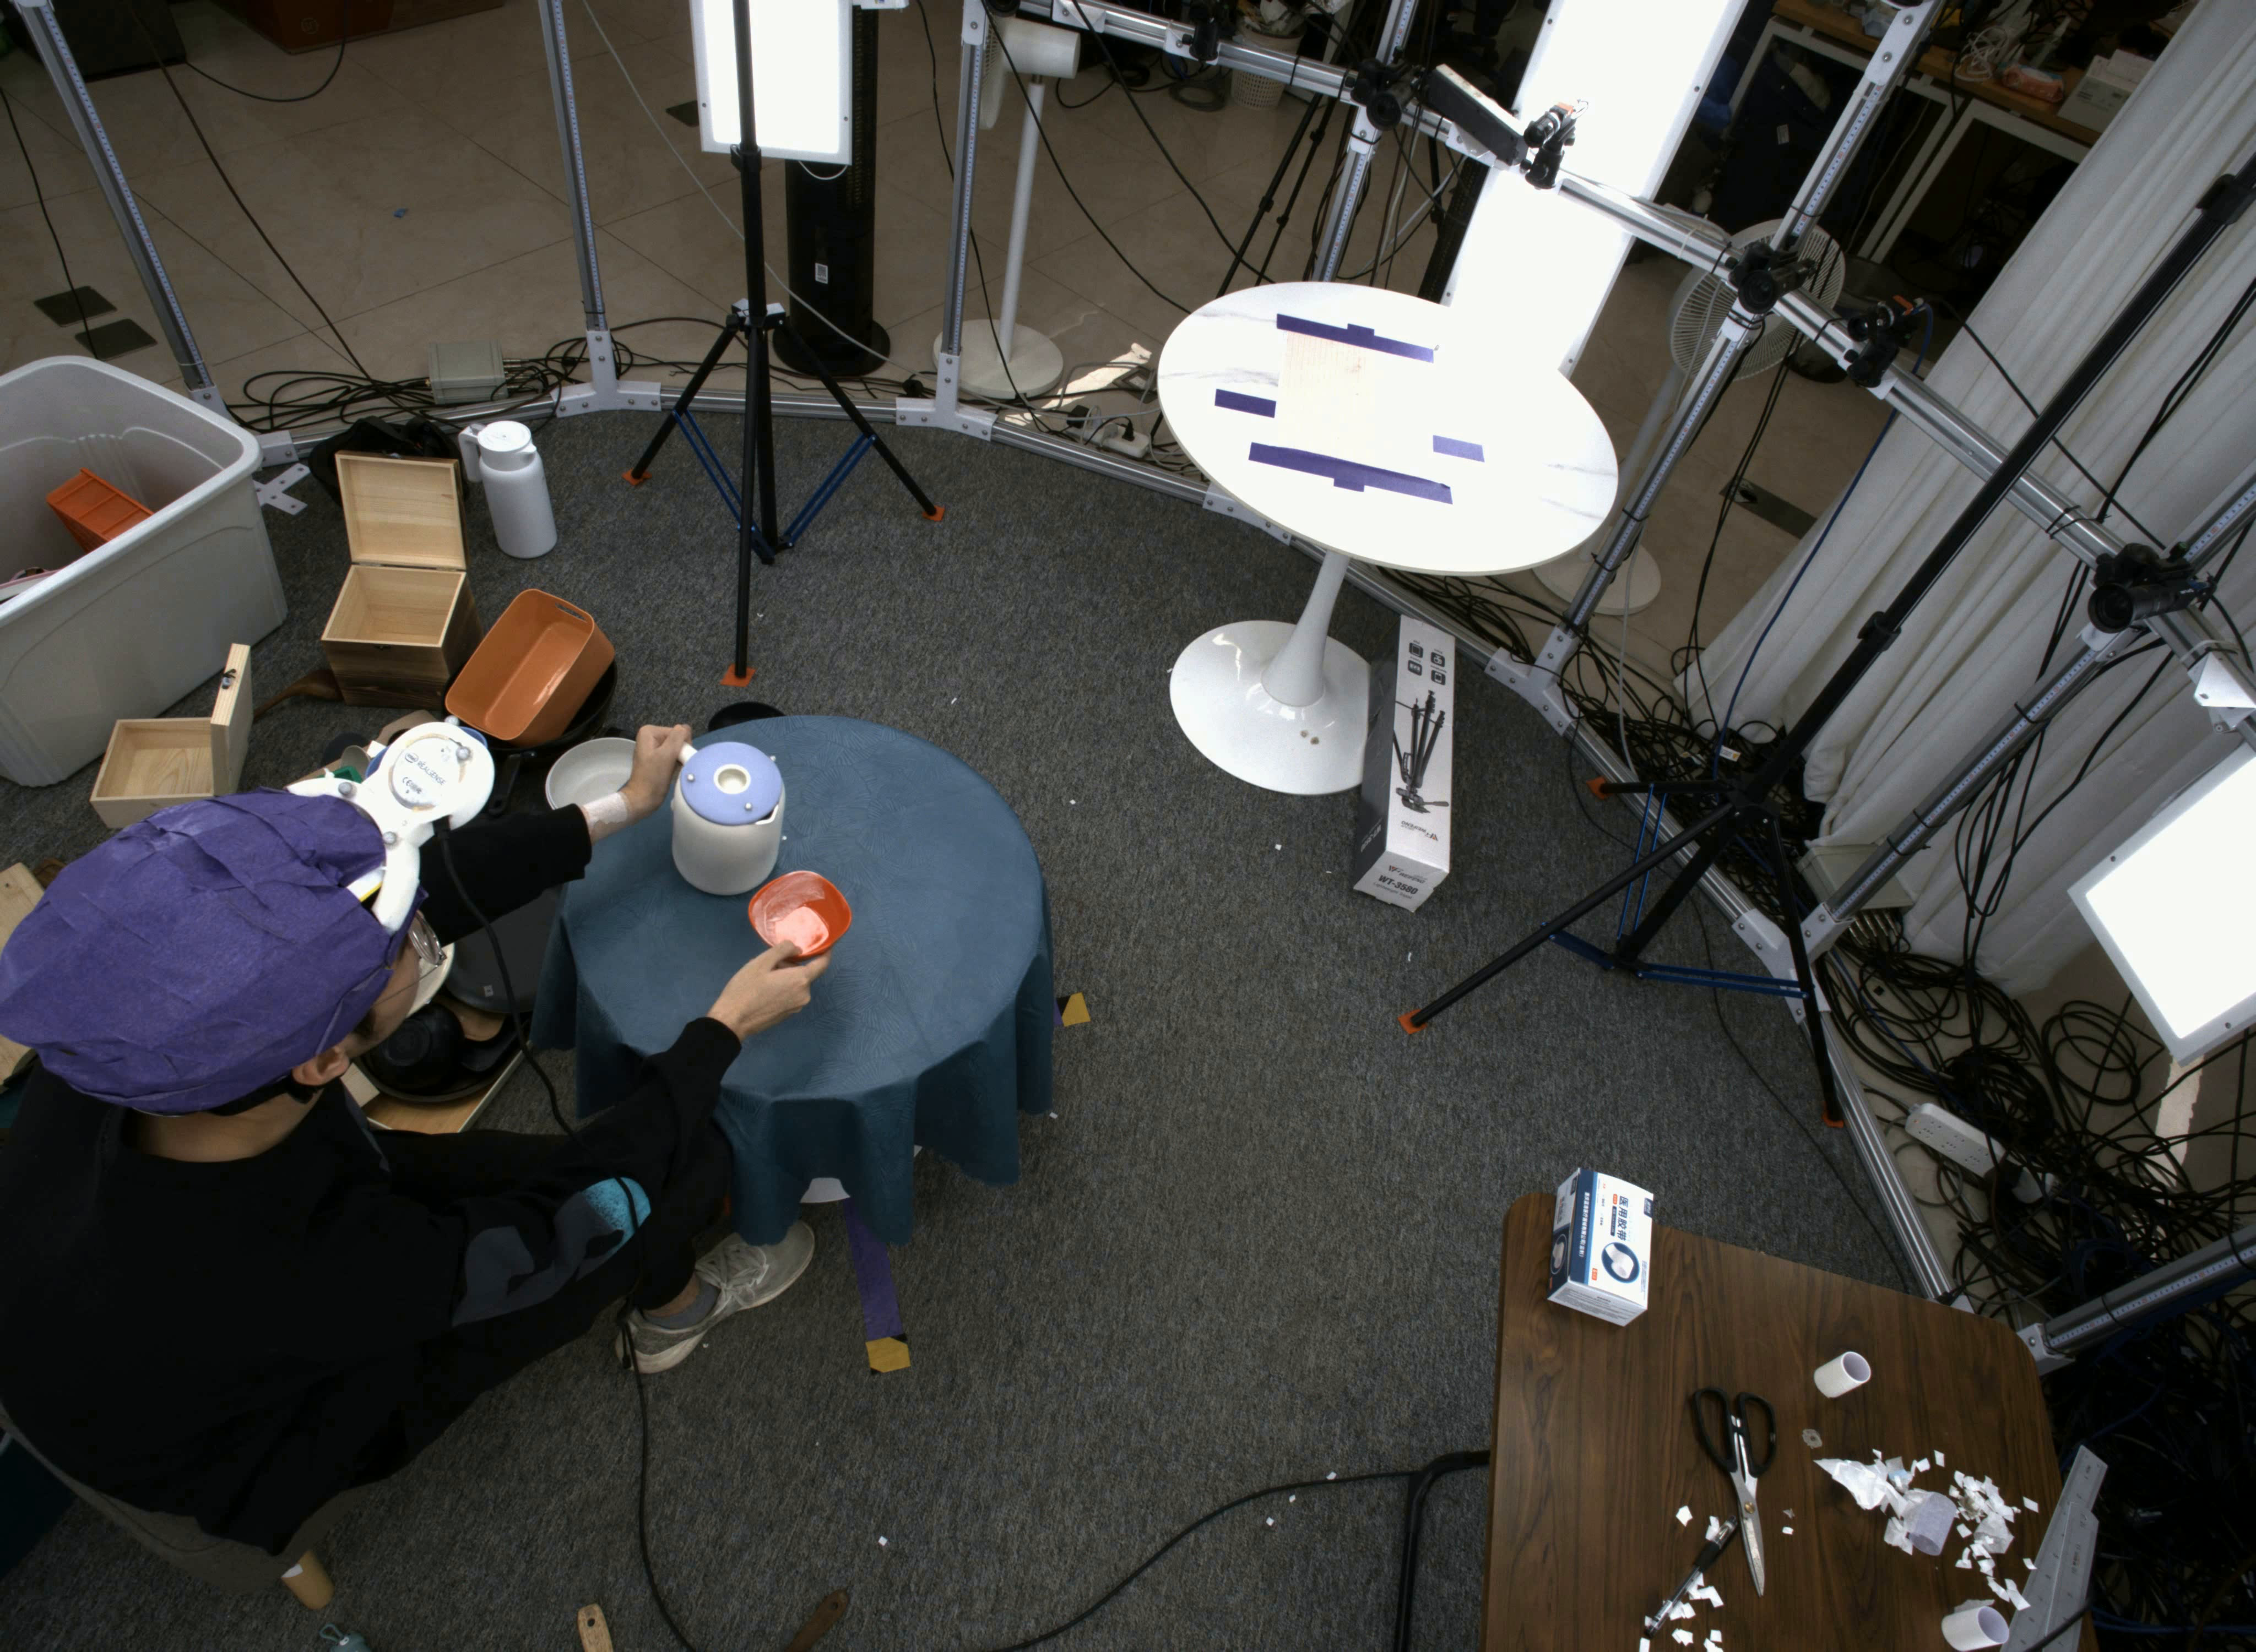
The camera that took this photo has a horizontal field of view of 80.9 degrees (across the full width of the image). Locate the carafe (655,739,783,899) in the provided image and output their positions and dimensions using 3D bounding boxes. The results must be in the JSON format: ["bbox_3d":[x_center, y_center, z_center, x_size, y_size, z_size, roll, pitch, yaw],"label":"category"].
[{"bbox_3d":[-0.516,-0.024,1.602,0.188,0.185,0.132,36,52,9],"label":"carafe"}]

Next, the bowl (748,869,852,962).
[{"bbox_3d":[-0.388,0.112,1.526,0.119,0.052,0.117,12,52,-14],"label":"bowl"}]
